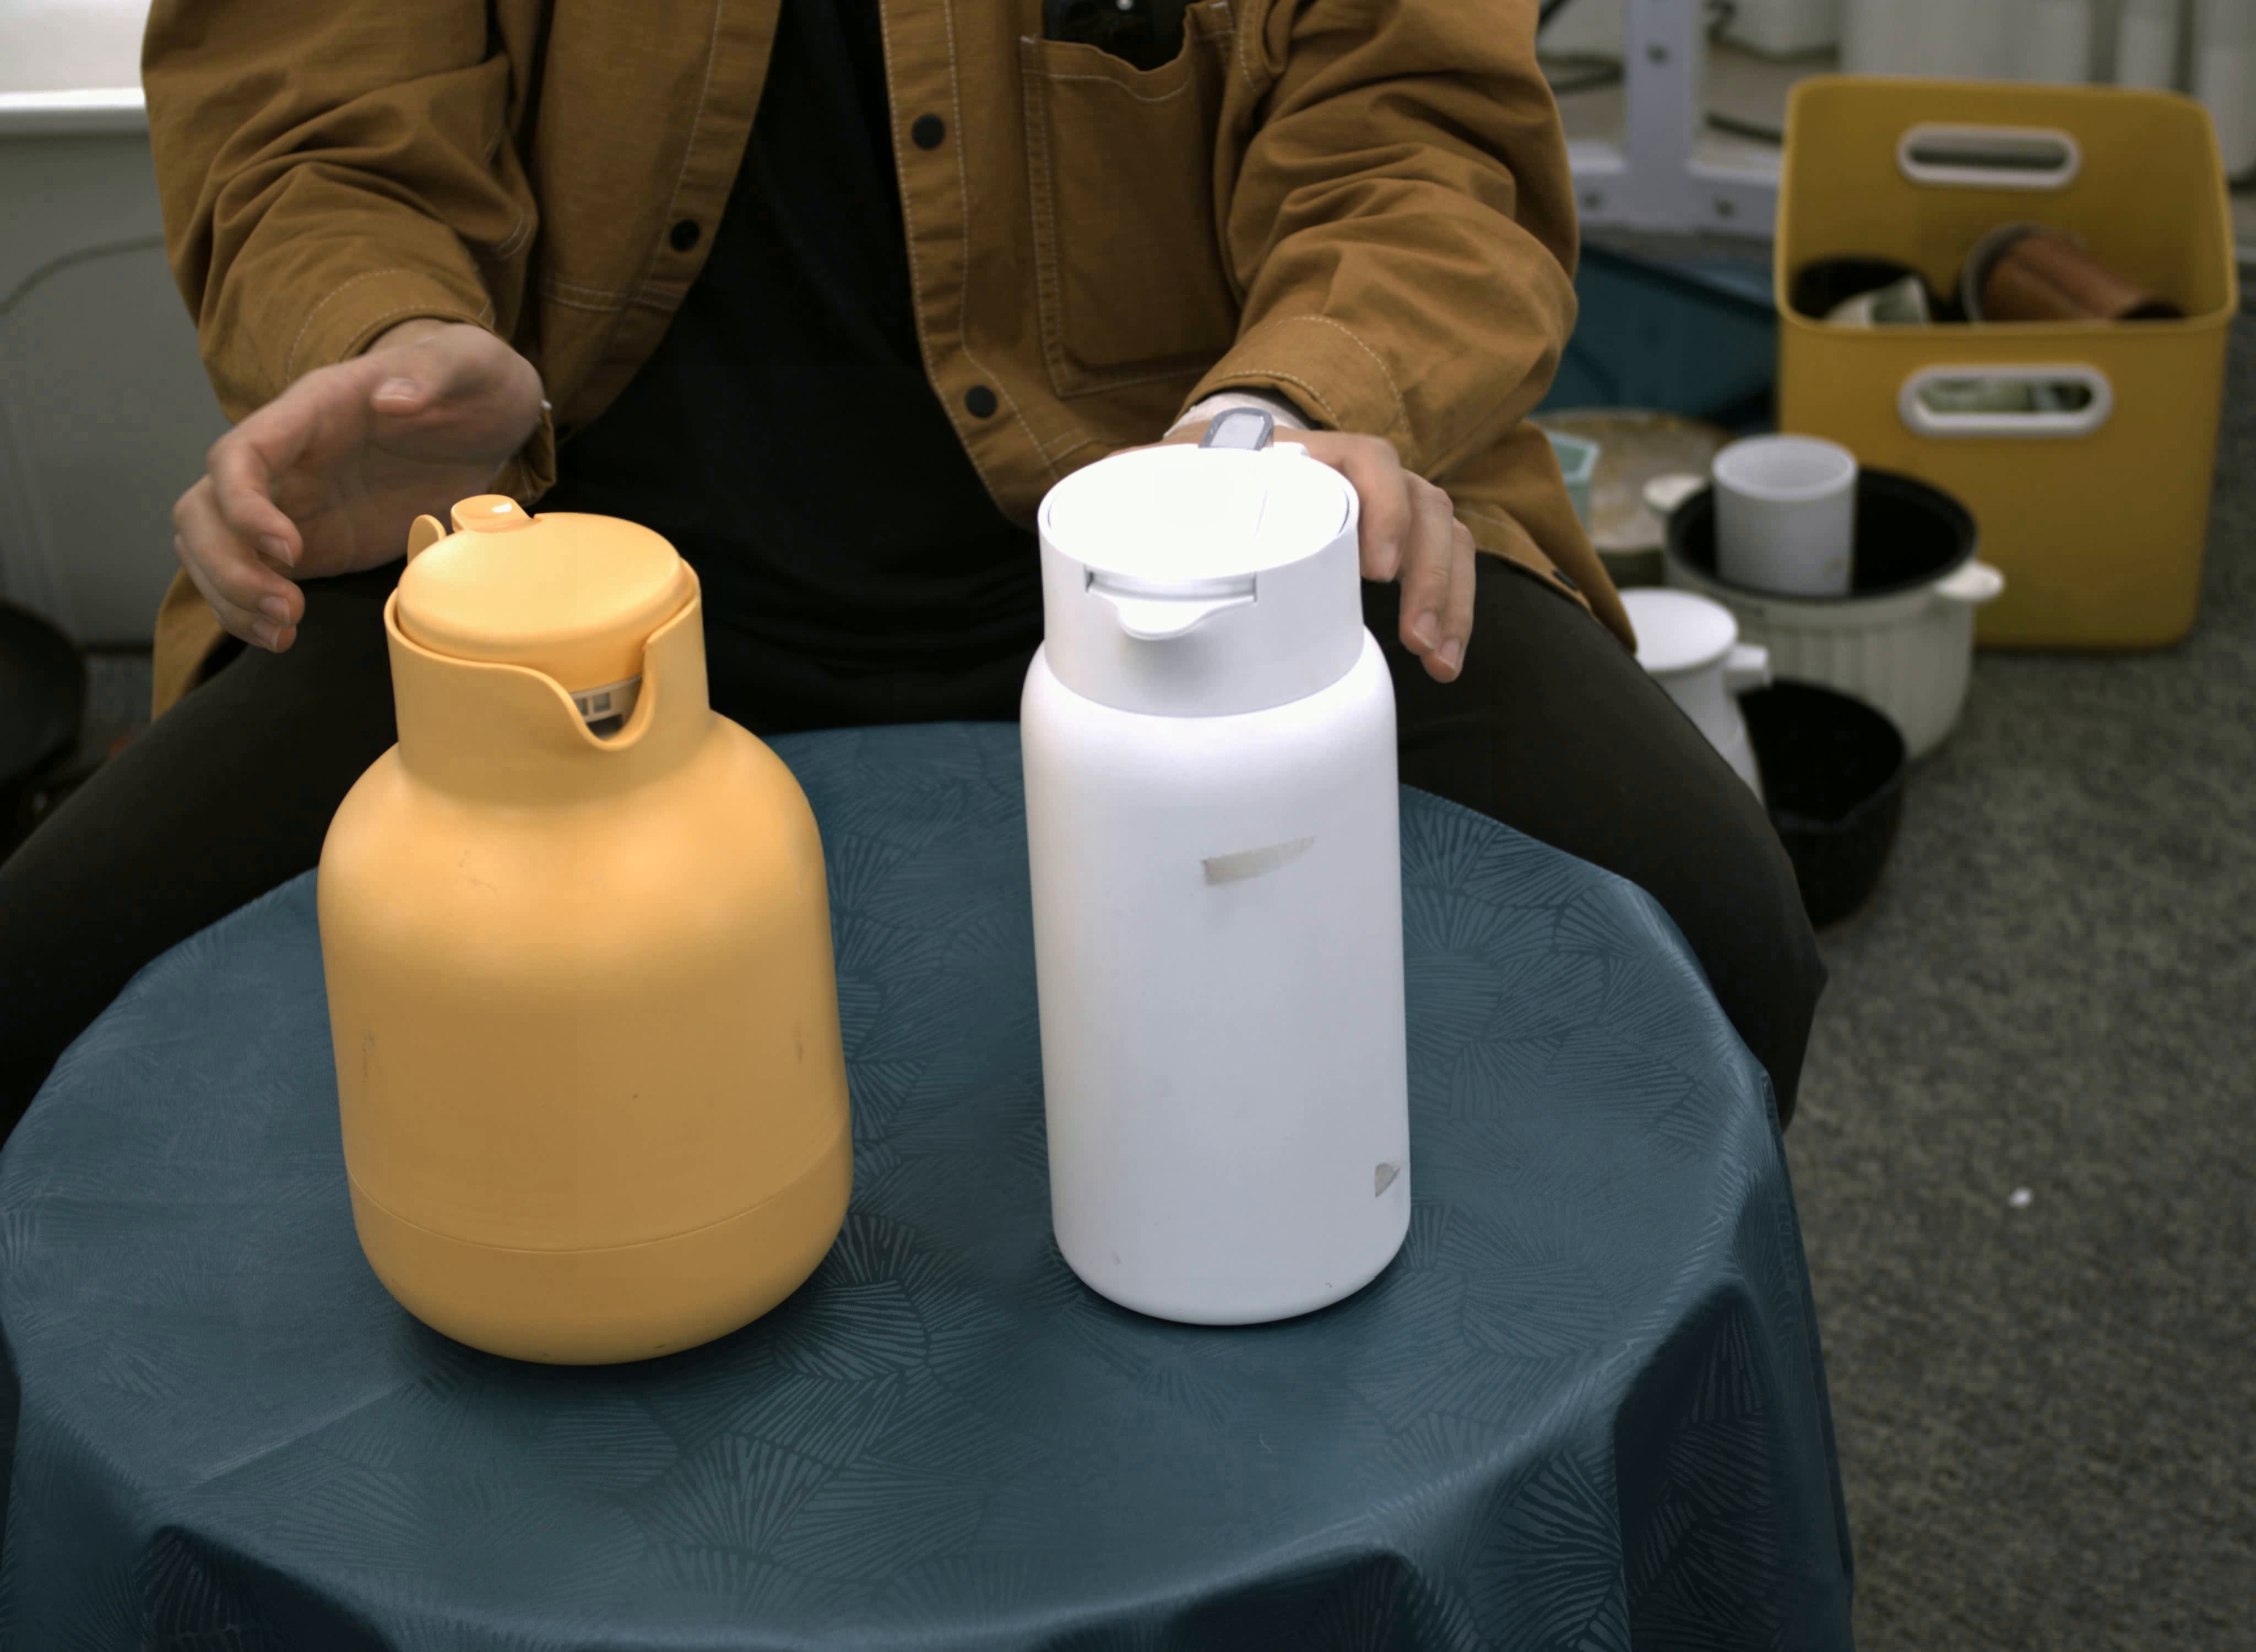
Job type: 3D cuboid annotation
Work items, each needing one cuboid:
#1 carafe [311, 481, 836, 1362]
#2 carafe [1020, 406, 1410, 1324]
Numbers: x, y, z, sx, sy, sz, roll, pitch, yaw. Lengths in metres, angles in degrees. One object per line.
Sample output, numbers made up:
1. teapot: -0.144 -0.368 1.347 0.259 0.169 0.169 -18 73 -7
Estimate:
1. carafe: -0.182 0.020 1.789 0.164 0.257 0.204 -9 28 -19
2. carafe: 0.030 0.009 1.787 0.123 0.266 0.176 1 26 13
